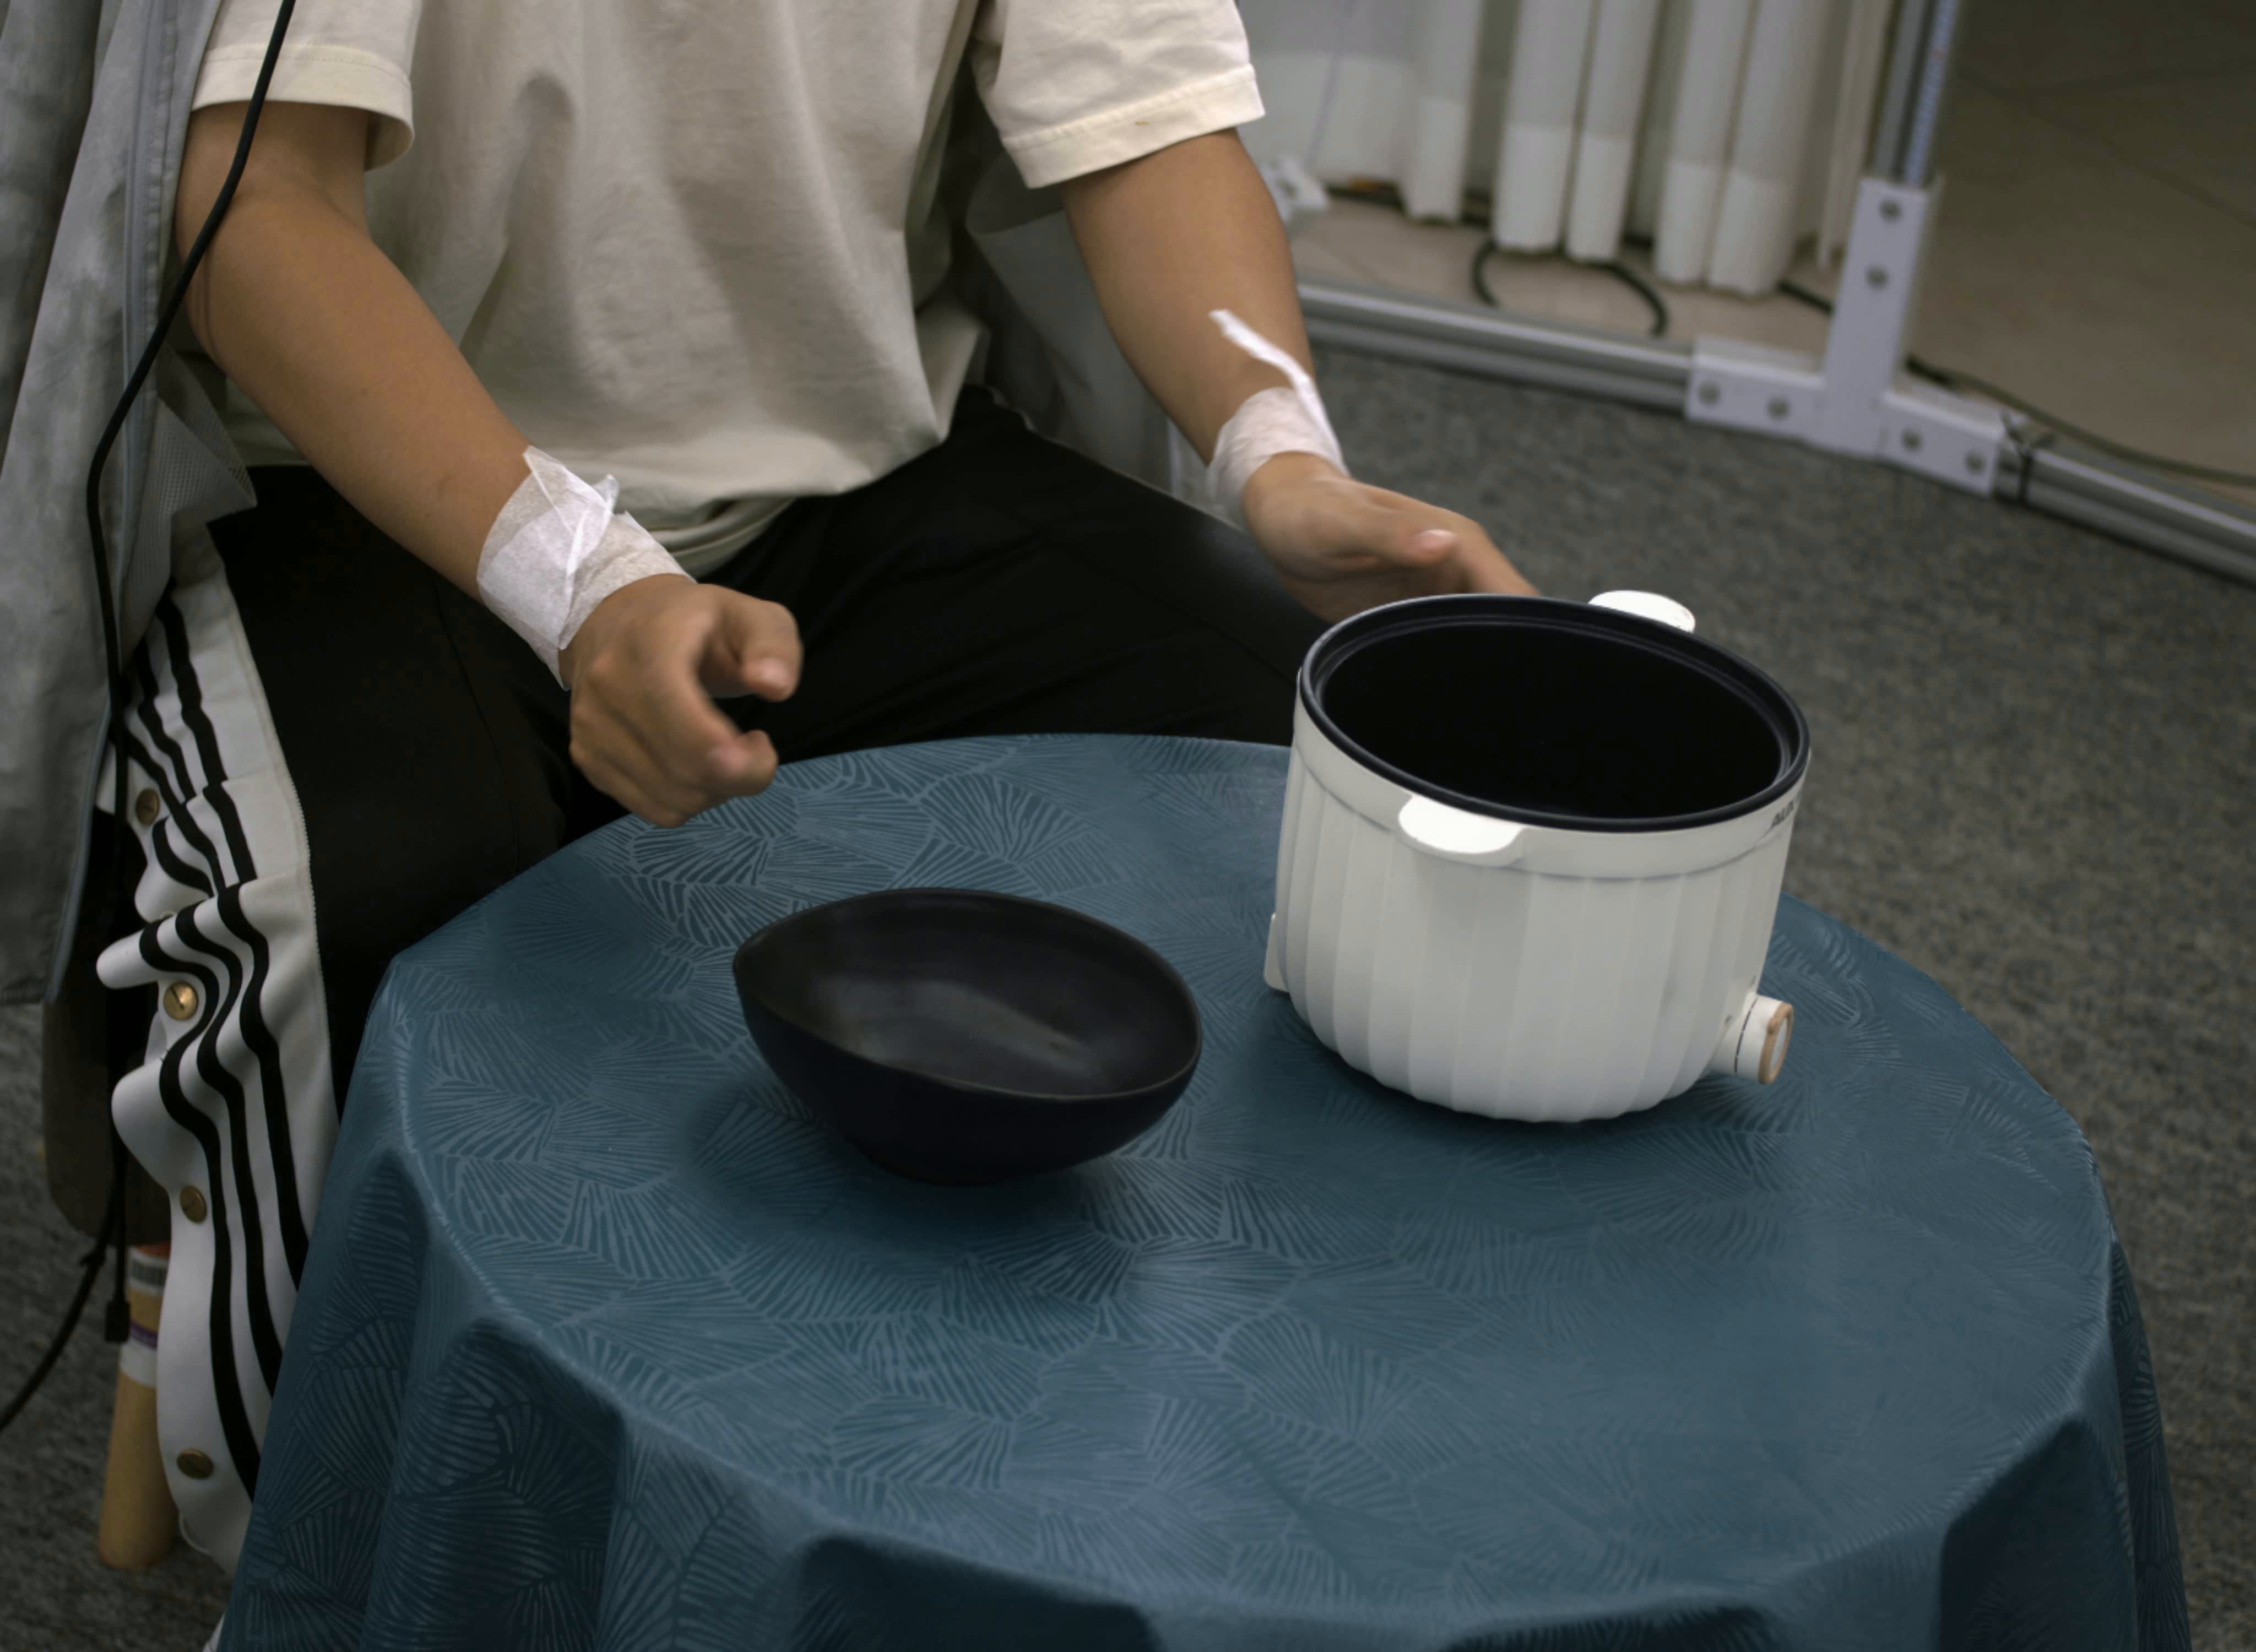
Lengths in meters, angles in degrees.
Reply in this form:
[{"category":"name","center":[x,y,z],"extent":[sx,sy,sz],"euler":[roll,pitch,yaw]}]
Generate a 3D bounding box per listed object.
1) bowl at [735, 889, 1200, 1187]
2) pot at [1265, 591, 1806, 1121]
[{"category":"bowl","center":[-0.058,0.080,1.807],"extent":[0.171,0.066,0.137],"euler":[19,28,25]},{"category":"pot","center":[0.148,0.017,1.896],"extent":[0.191,0.142,0.240],"euler":[12,28,19]}]
